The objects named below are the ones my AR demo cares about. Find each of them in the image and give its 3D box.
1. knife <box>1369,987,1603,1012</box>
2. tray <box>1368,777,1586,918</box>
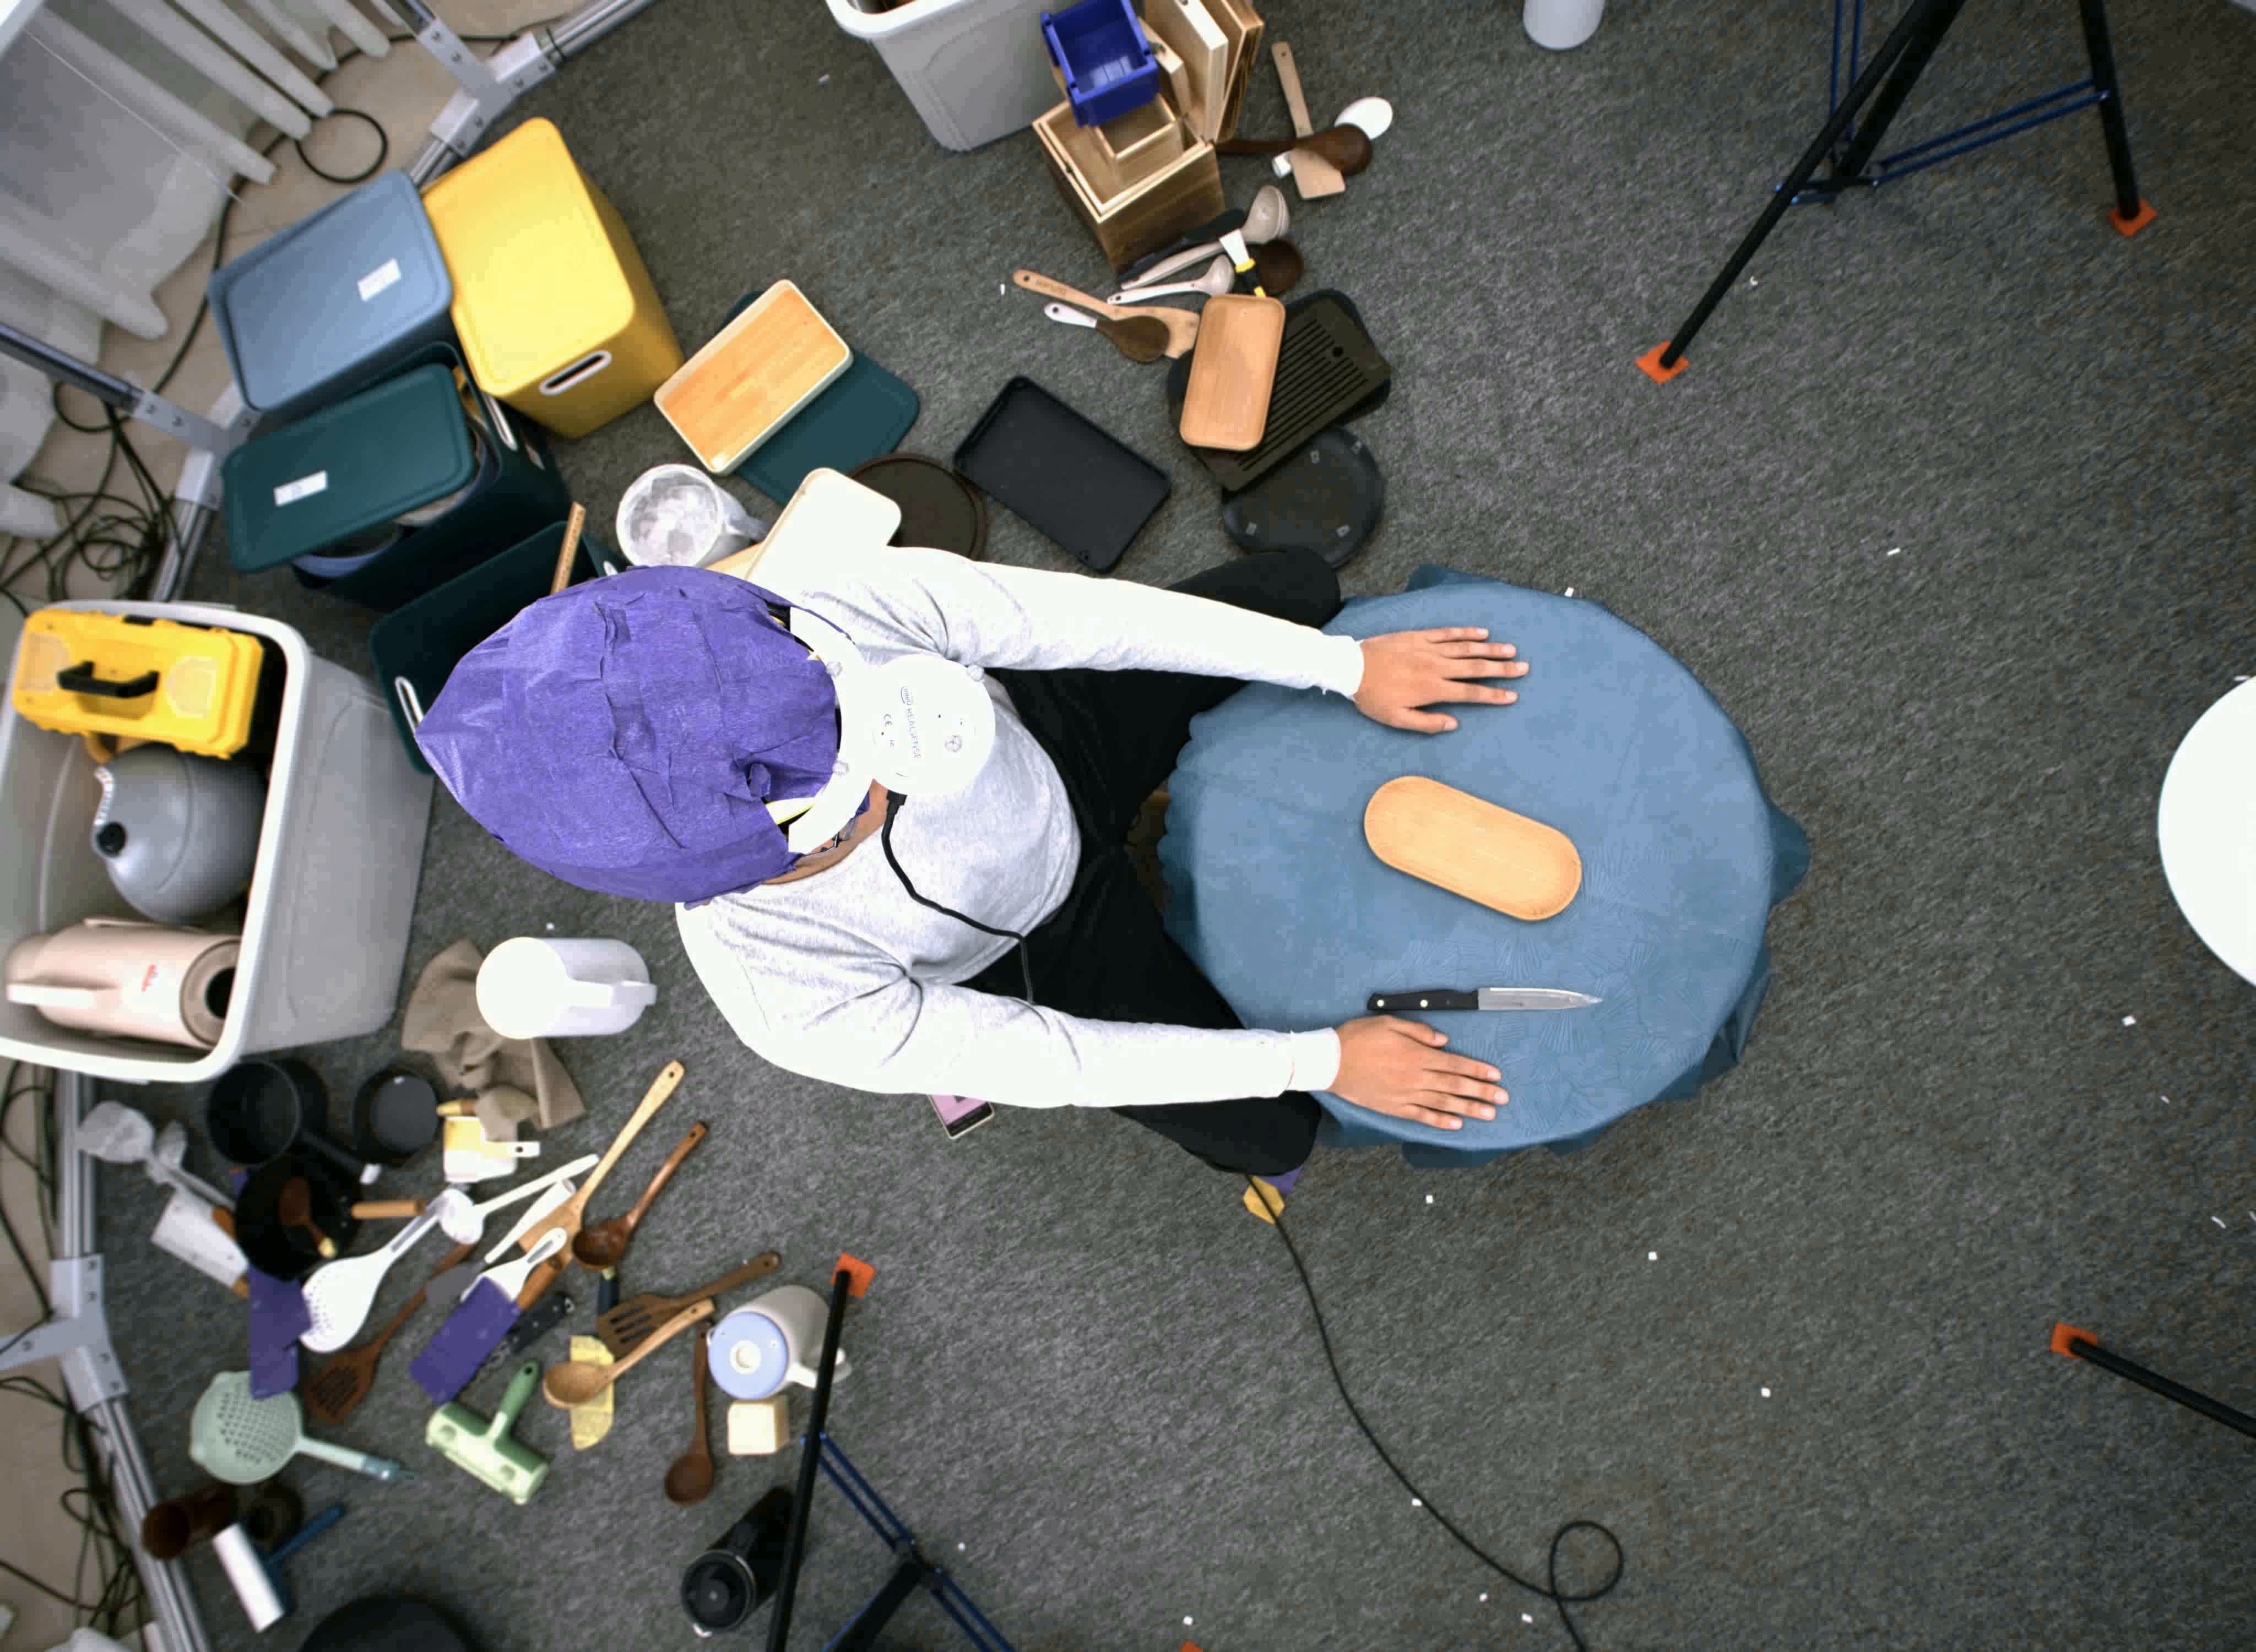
[{"bbox_3d":[0.371,0.178,1.430,0.239,0.016,0.024,-2,83,8],"label":"knife"},{"bbox_3d":[0.363,0.020,1.438,0.231,0.020,0.102,21,92,10],"label":"tray"}]
